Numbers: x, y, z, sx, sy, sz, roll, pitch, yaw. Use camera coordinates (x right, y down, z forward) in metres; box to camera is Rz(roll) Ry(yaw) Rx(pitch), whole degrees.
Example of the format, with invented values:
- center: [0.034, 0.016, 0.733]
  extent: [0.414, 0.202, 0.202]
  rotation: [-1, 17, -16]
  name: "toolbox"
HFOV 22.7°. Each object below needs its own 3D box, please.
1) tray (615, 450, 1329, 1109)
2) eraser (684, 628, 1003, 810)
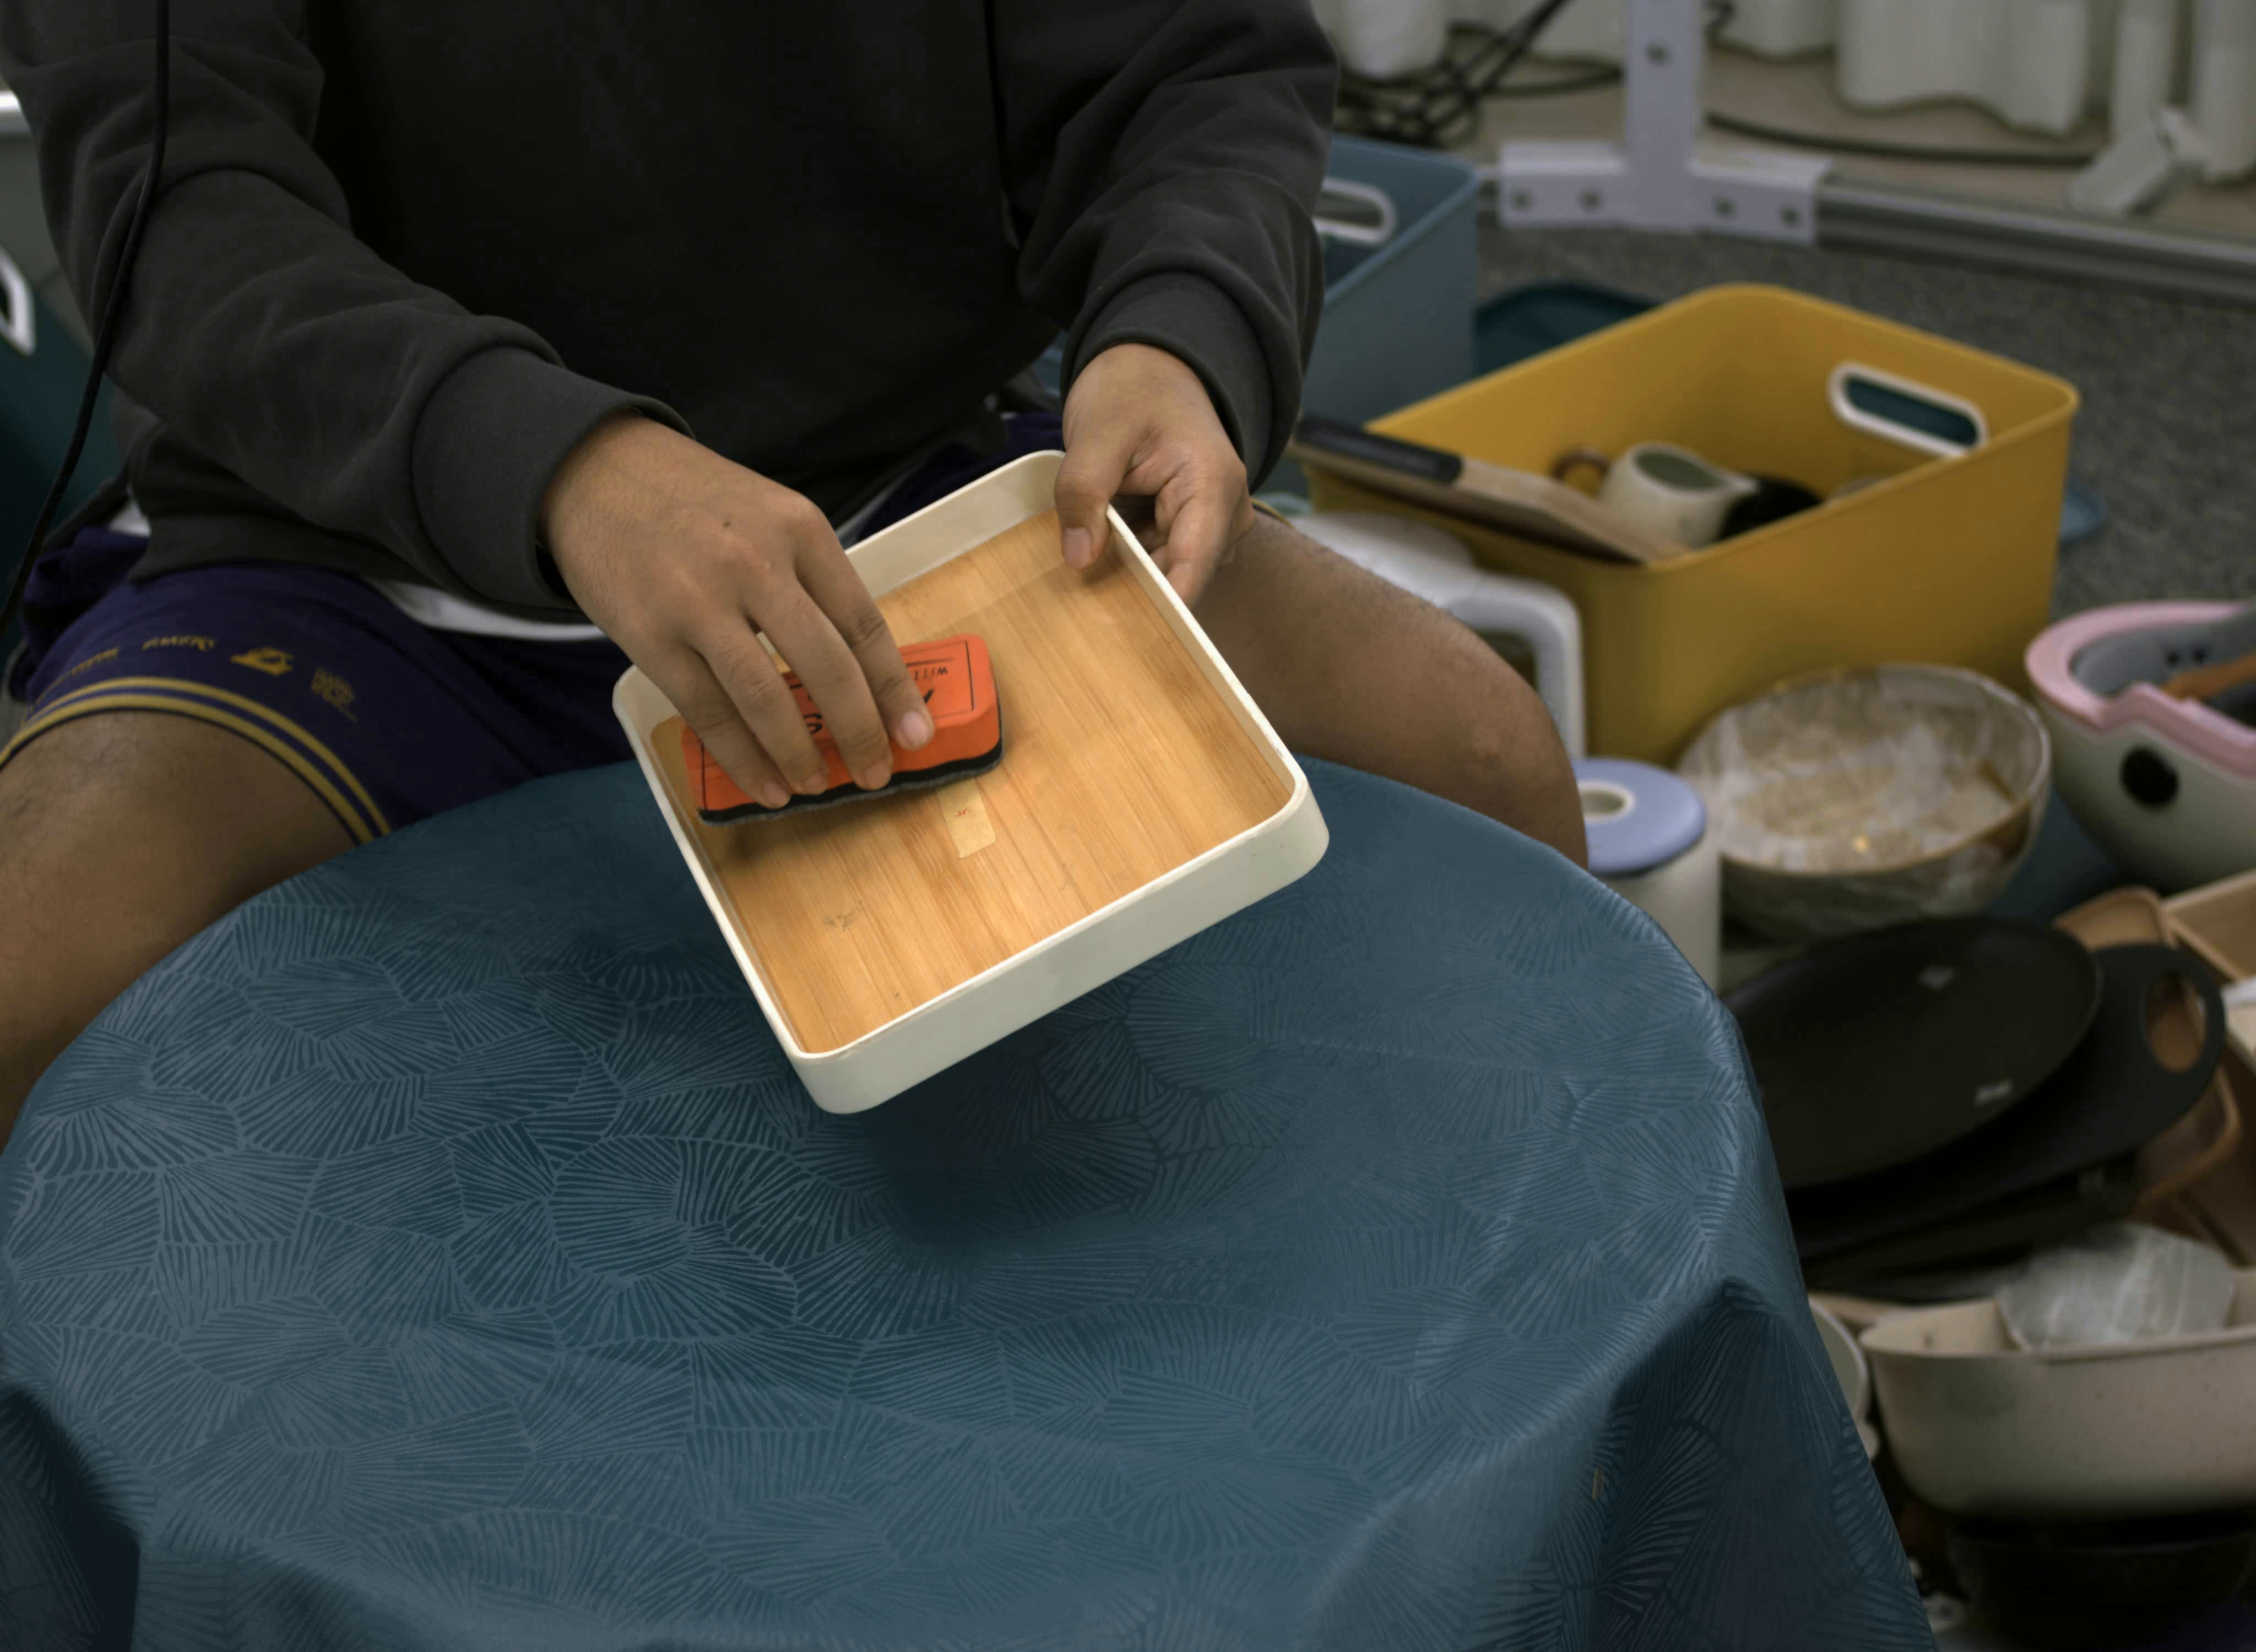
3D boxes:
- center: [-0.059, -0.022, 1.918]
  extent: [0.191, 0.027, 0.303]
  rotation: [-28, 31, -4]
  name: "tray"
- center: [-0.098, -0.037, 1.934]
  extent: [0.107, 0.022, 0.060]
  rotation: [-14, 24, 2]
  name: "eraser"
